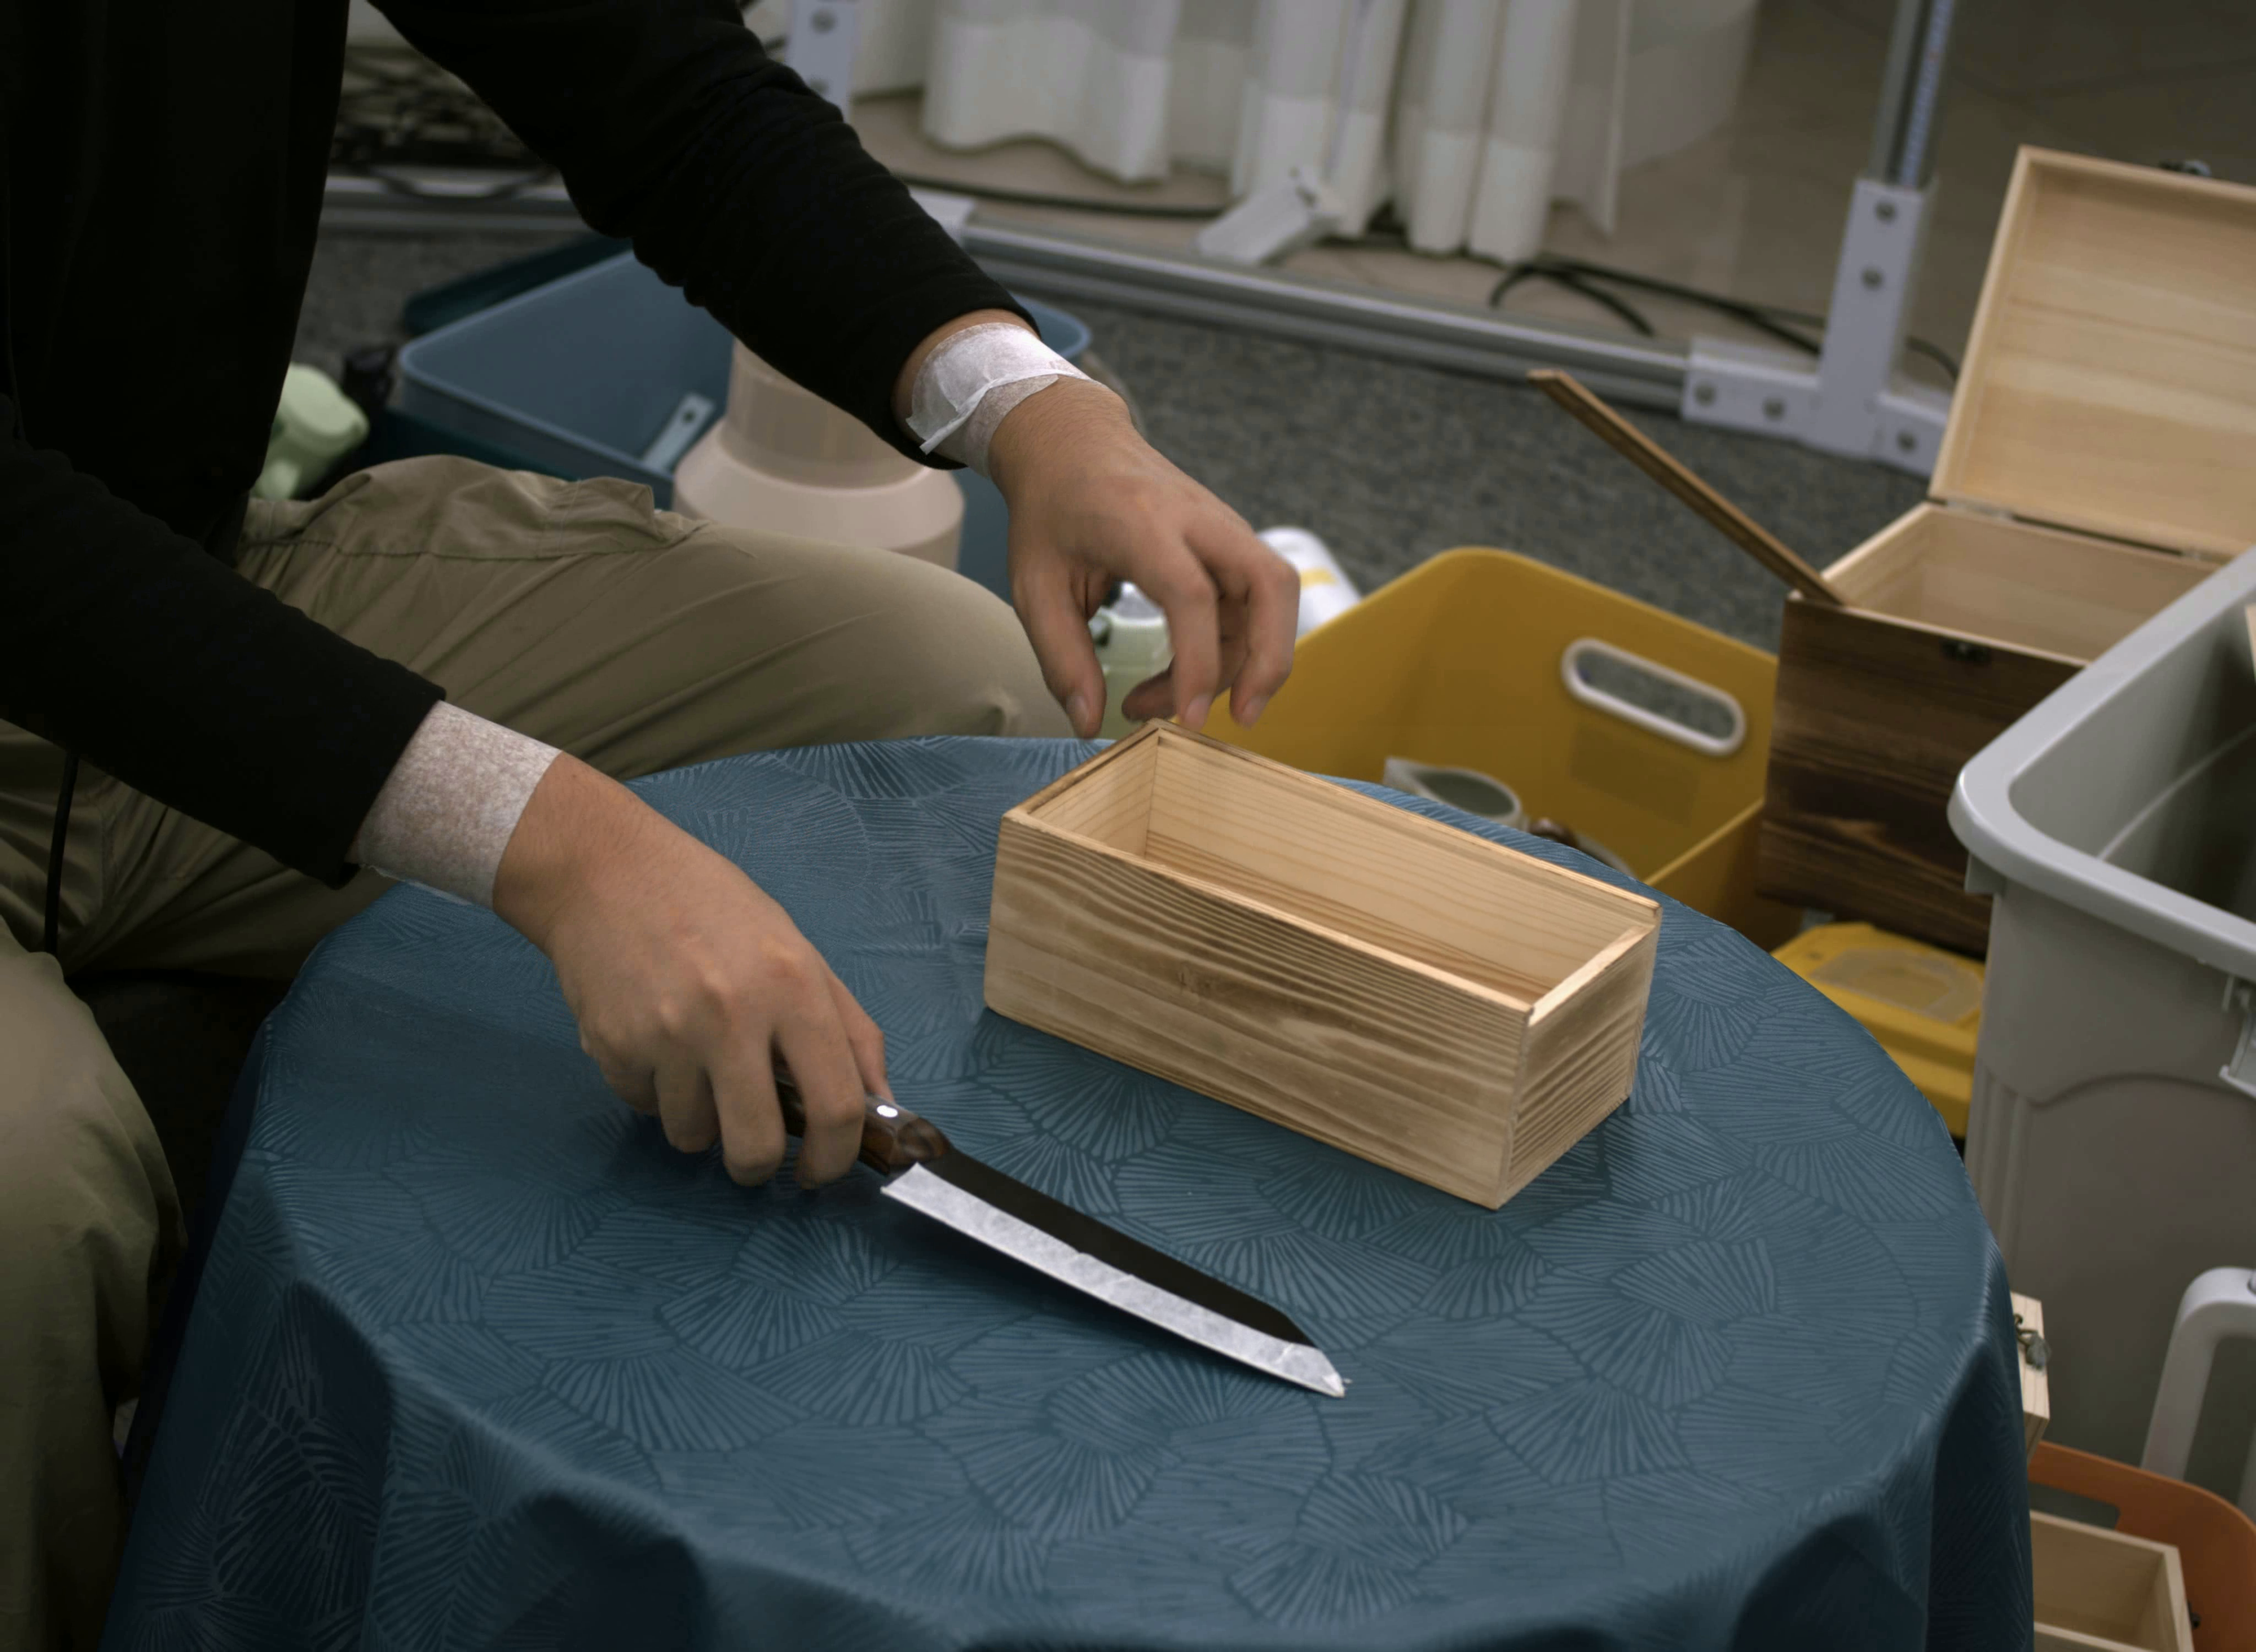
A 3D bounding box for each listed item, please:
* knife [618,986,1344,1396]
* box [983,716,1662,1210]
[{"bbox_3d":[-0.052,0.122,1.756,0.290,0.020,0.050,26,29,21],"label":"knife"},{"bbox_3d":[0.067,0.045,1.883,0.212,0.080,0.107,21,30,25],"label":"box"}]
